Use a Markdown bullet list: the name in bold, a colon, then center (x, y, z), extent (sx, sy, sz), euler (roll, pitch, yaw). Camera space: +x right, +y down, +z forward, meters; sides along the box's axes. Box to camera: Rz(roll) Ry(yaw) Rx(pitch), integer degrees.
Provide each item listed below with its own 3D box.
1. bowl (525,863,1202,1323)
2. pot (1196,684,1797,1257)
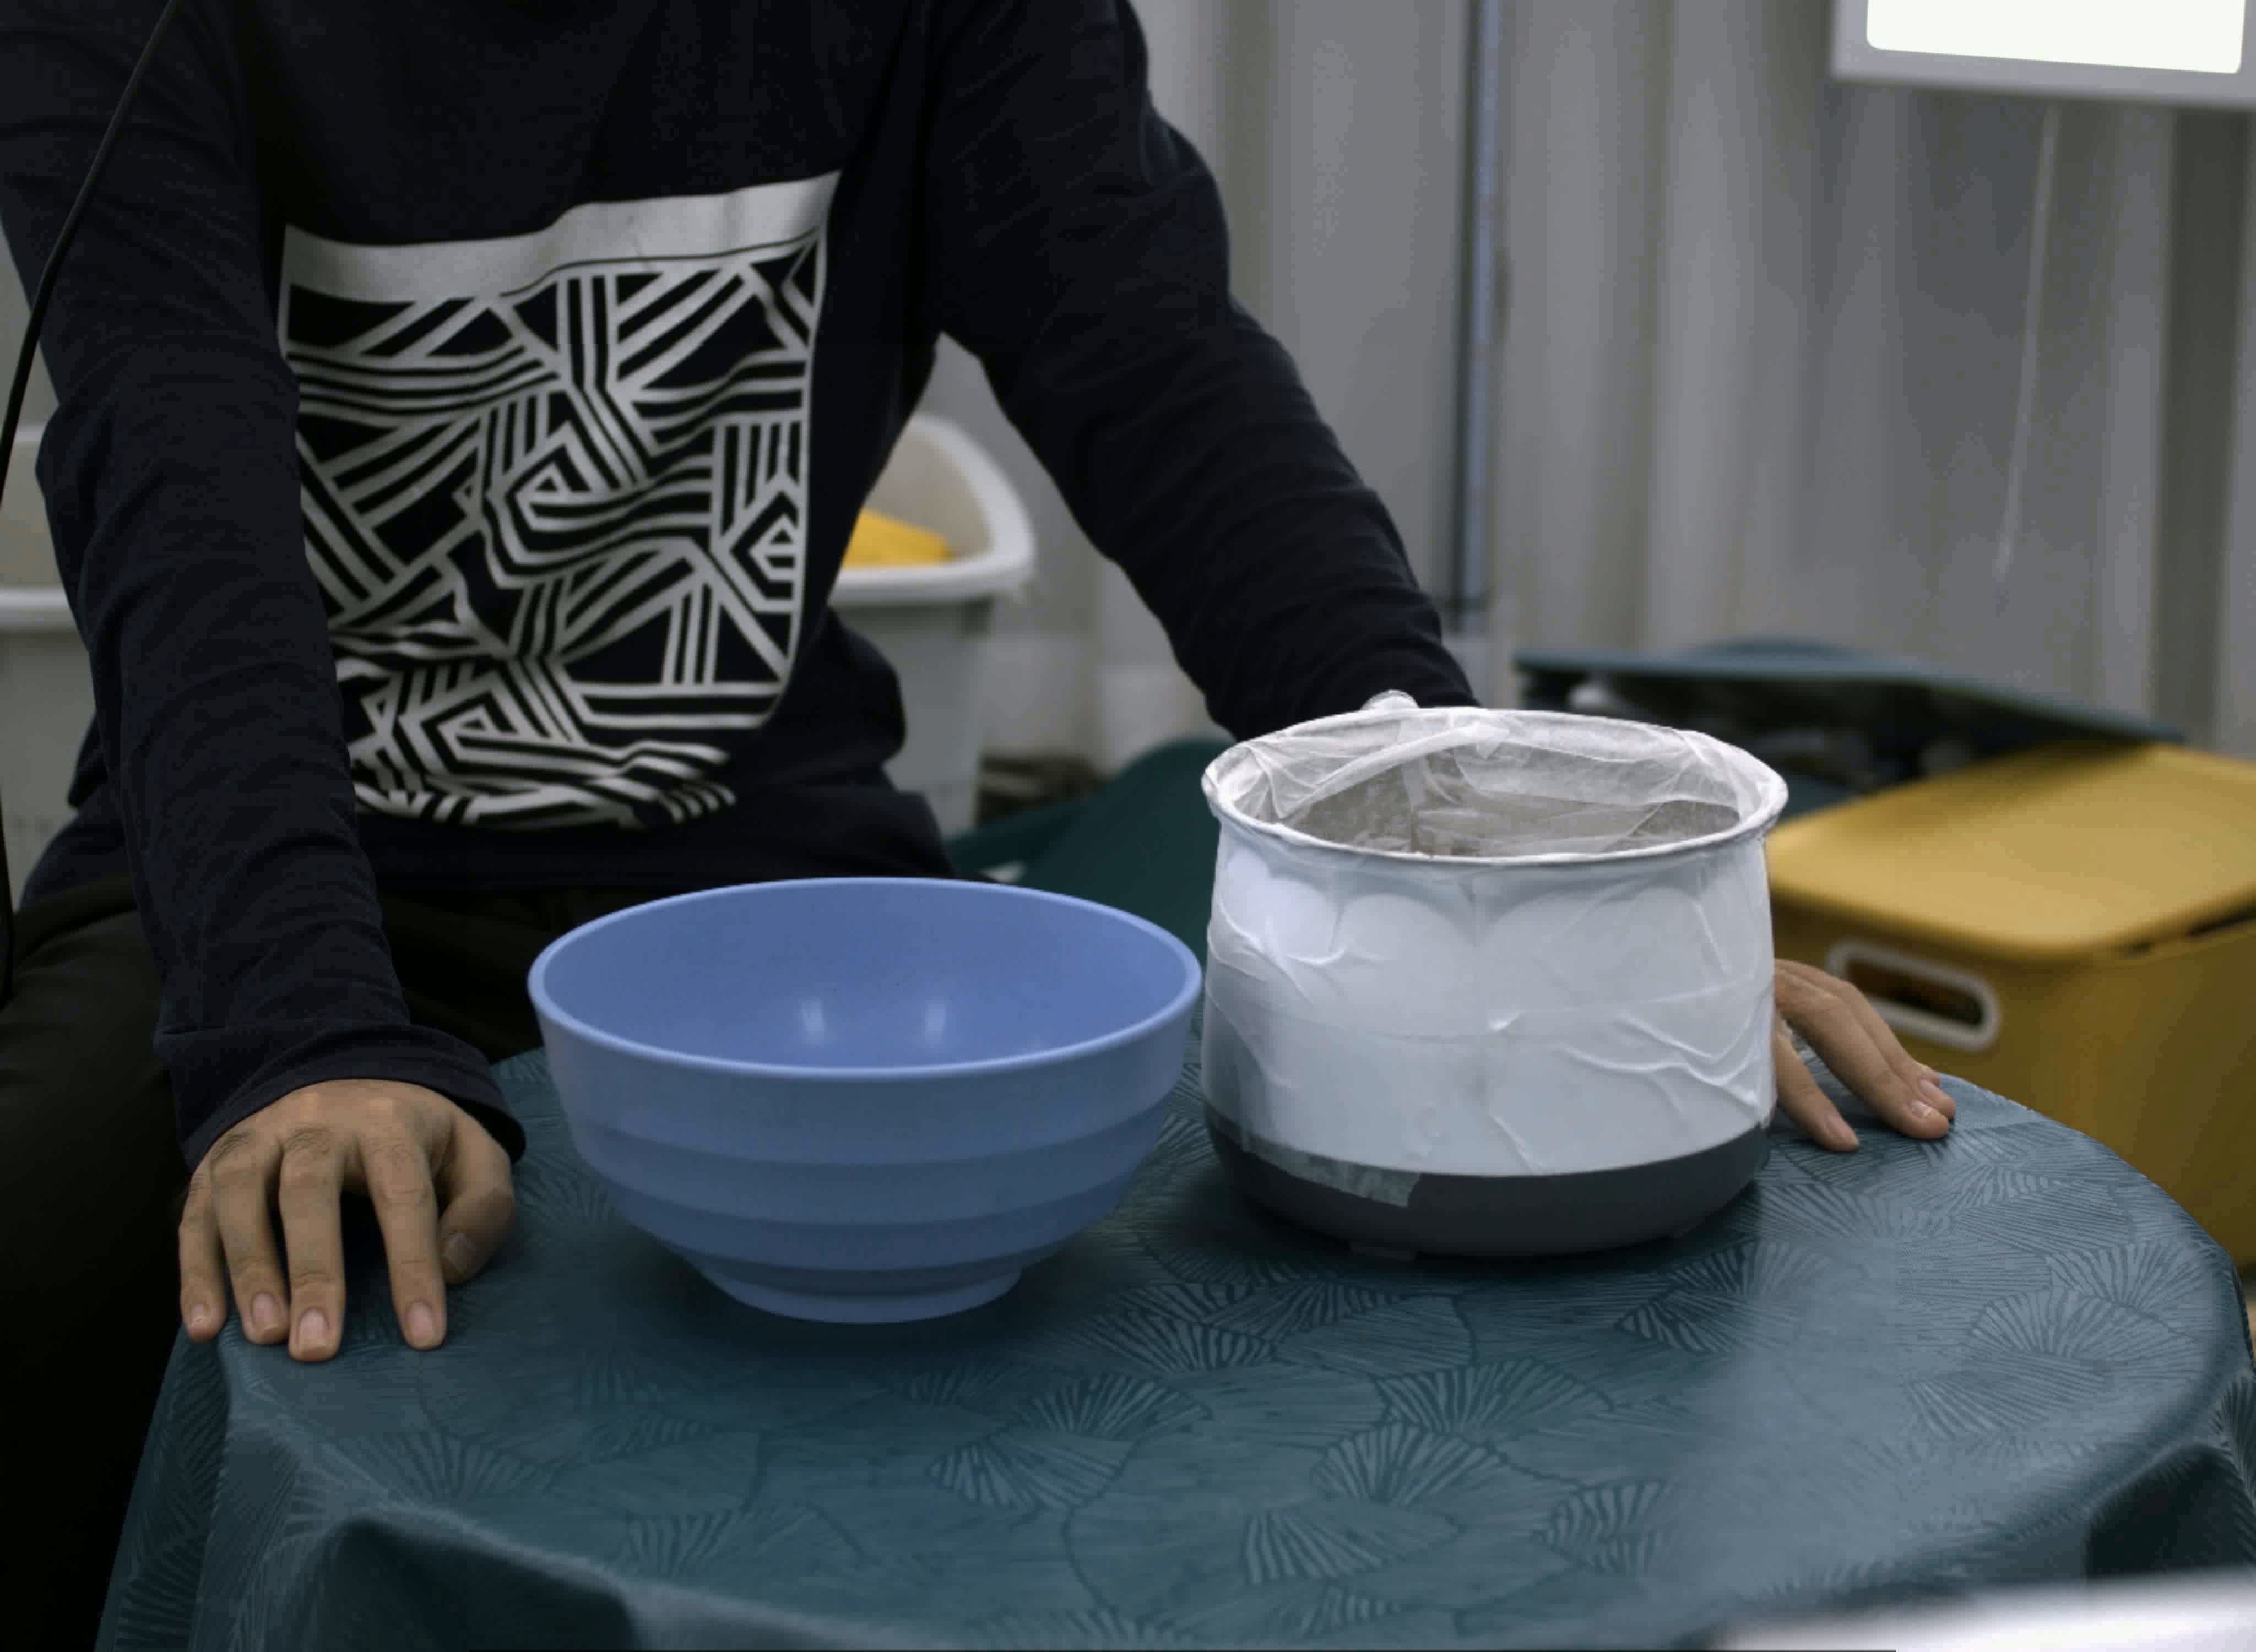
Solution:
- **bowl**: center (-0.076, 0.084, 1.539), extent (0.196, 0.096, 0.195), euler (0, 18, 1)
- **pot**: center (0.102, 0.040, 1.632), extent (0.179, 0.137, 0.231), euler (-2, 16, -18)
